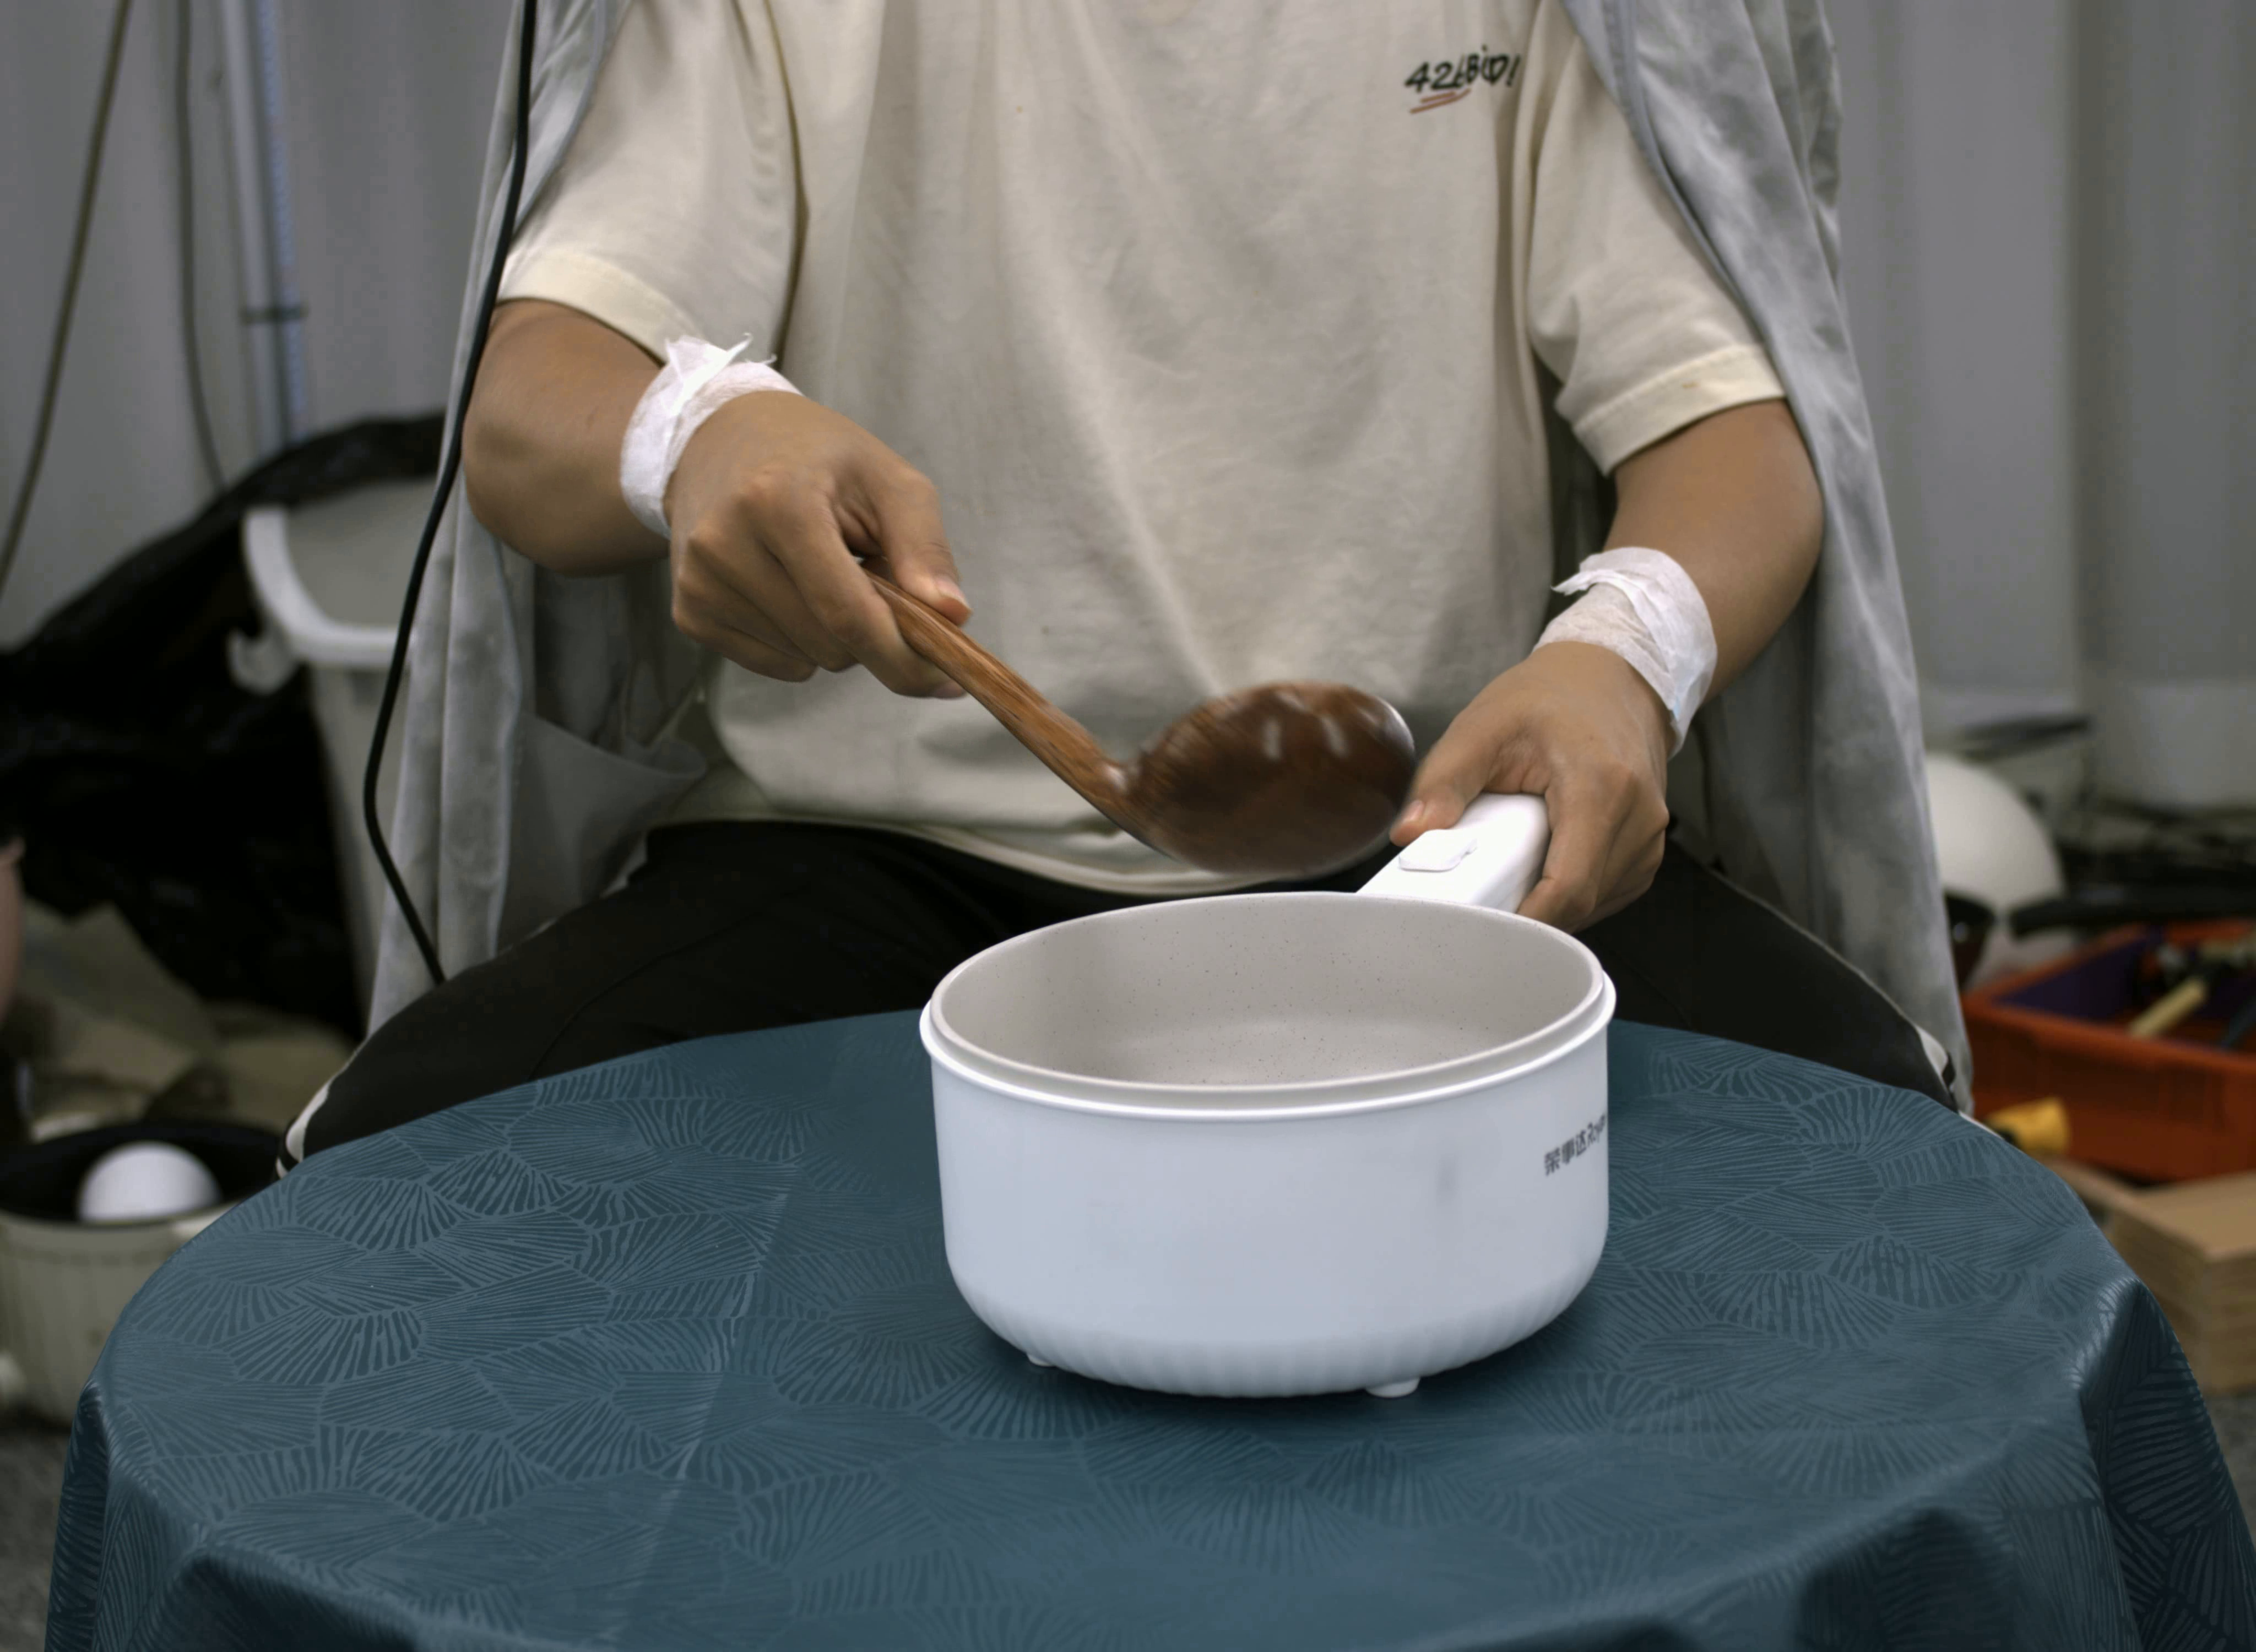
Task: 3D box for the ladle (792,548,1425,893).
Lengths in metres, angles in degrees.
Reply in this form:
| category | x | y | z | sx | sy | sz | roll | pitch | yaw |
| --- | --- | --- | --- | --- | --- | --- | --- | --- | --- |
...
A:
| category | x | y | z | sx | sy | sz | roll | pitch | yaw |
| --- | --- | --- | --- | --- | --- | --- | --- | --- | --- |
| ladle | -0.011 | -0.053 | 1.661 | 0.077 | 0.081 | 0.277 | -47 | 41 | -5 |

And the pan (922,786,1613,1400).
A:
| category | x | y | z | sx | sy | sz | roll | pitch | yaw |
| --- | --- | --- | --- | --- | --- | --- | --- | --- | --- |
| pan | 0.070 | 0.076 | 1.660 | 0.201 | 0.102 | 0.356 | 2 | 15 | 22 |
